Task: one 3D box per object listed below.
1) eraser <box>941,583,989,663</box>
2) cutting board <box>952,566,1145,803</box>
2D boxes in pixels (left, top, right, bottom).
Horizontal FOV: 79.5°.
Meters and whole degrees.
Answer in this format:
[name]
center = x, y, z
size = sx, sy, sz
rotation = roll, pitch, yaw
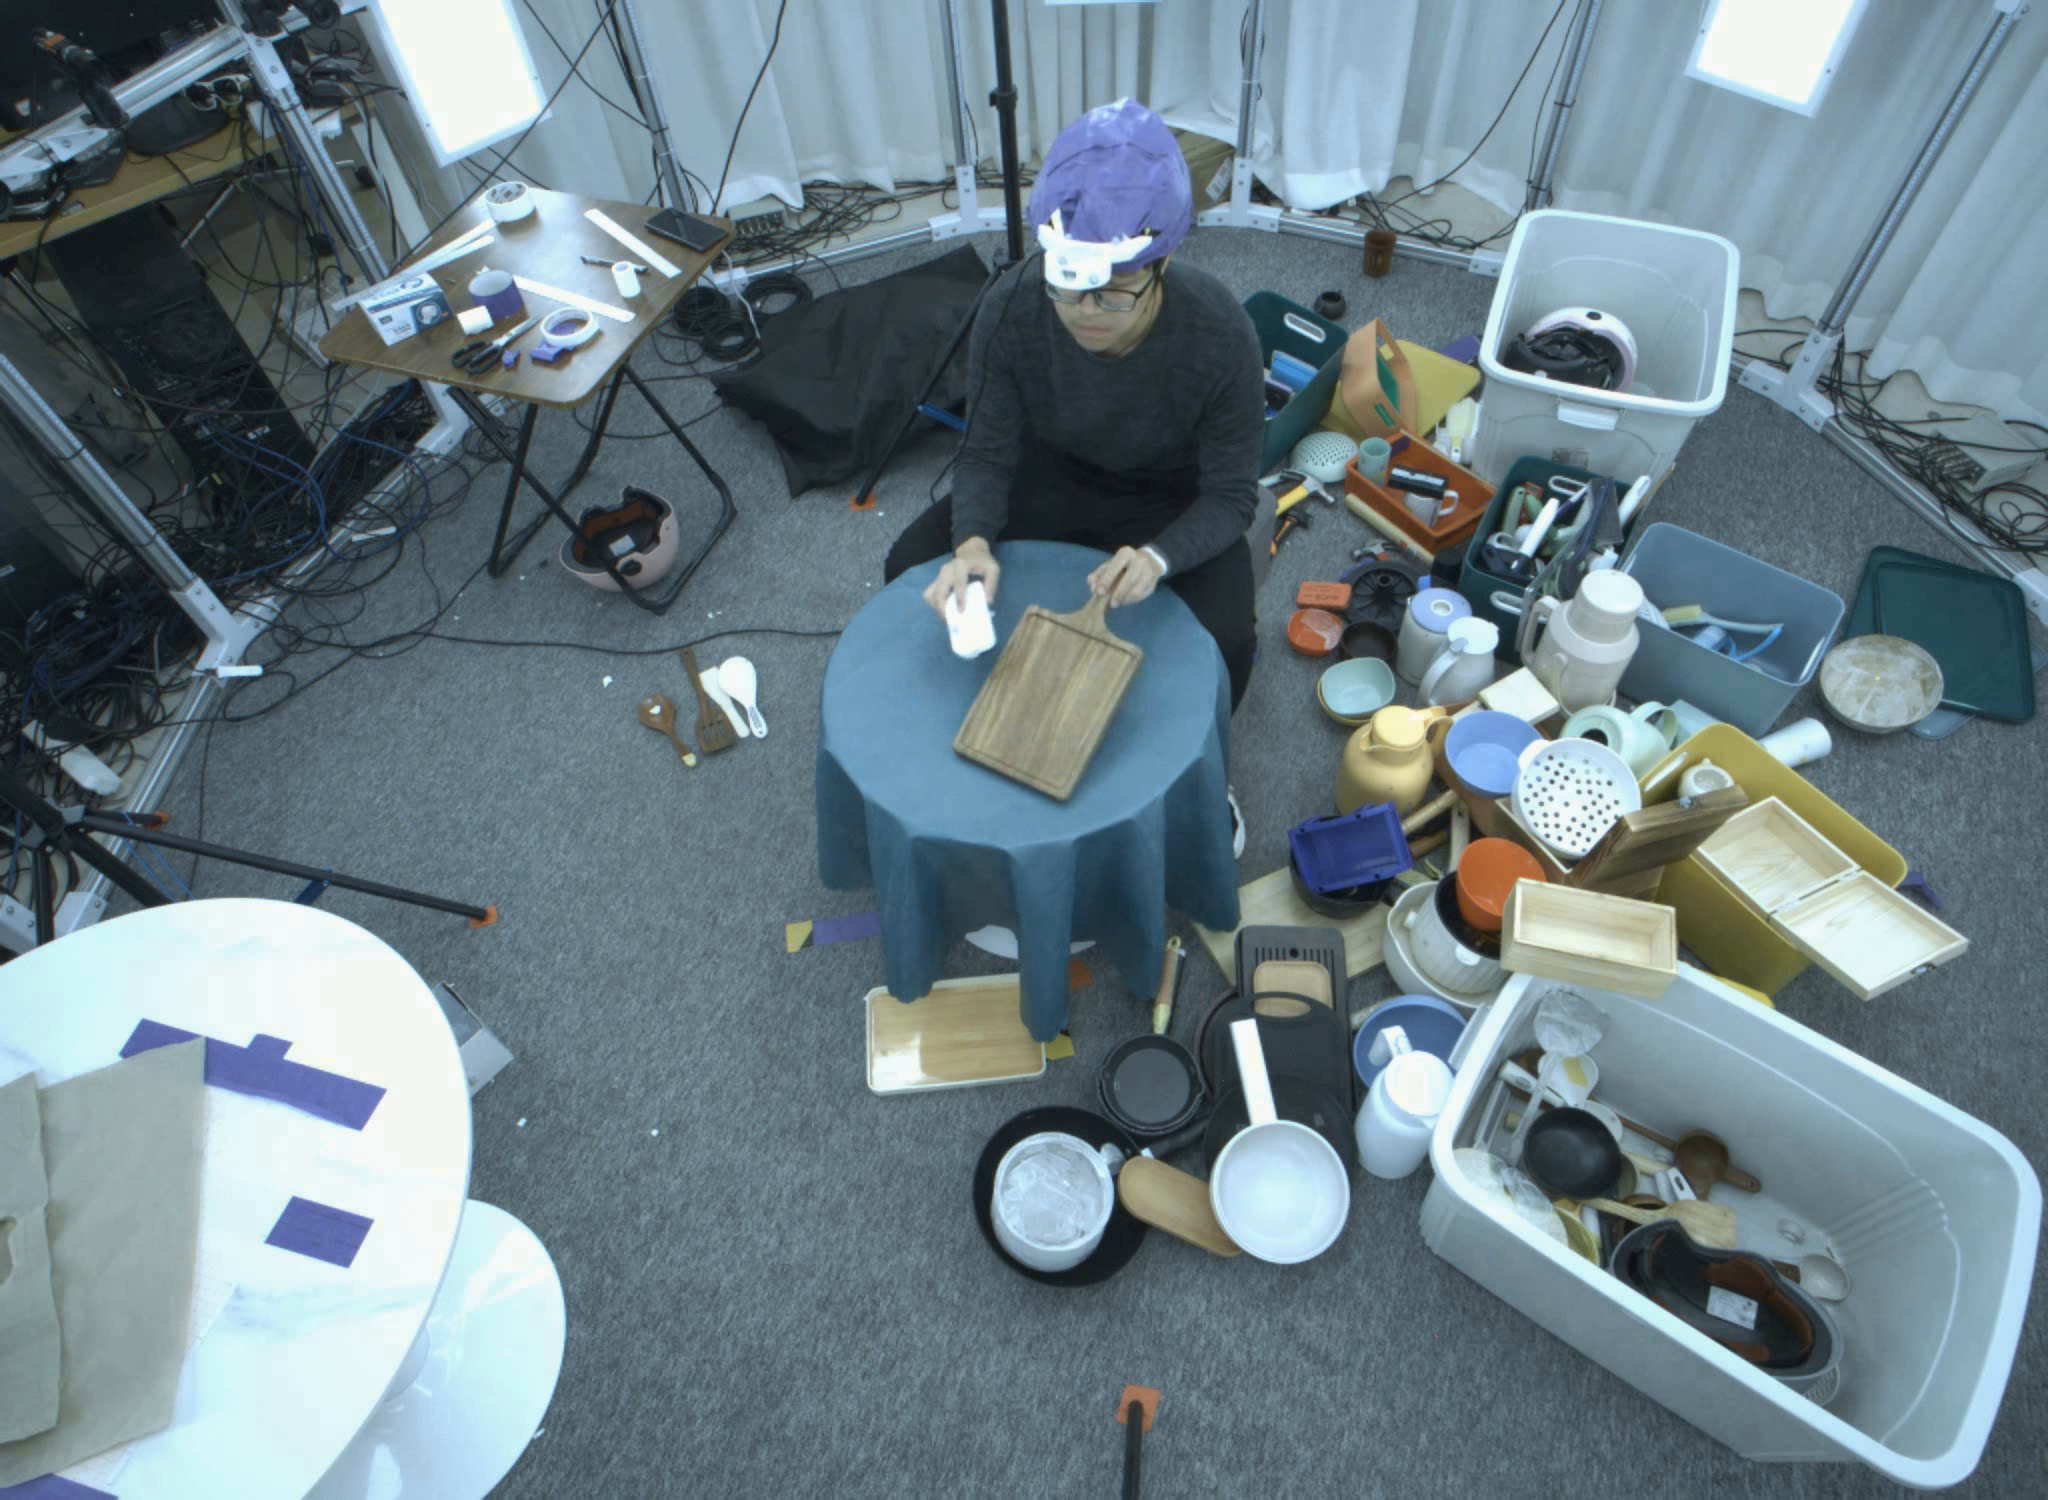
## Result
[eraser]
center = -0.086, -0.189, 1.804
size = 0.063, 0.035, 0.129
rotation = -17, 54, 11
[cutting board]
center = 0.057, -0.113, 1.780
size = 0.198, 0.023, 0.352
rotation = 24, 80, 18
